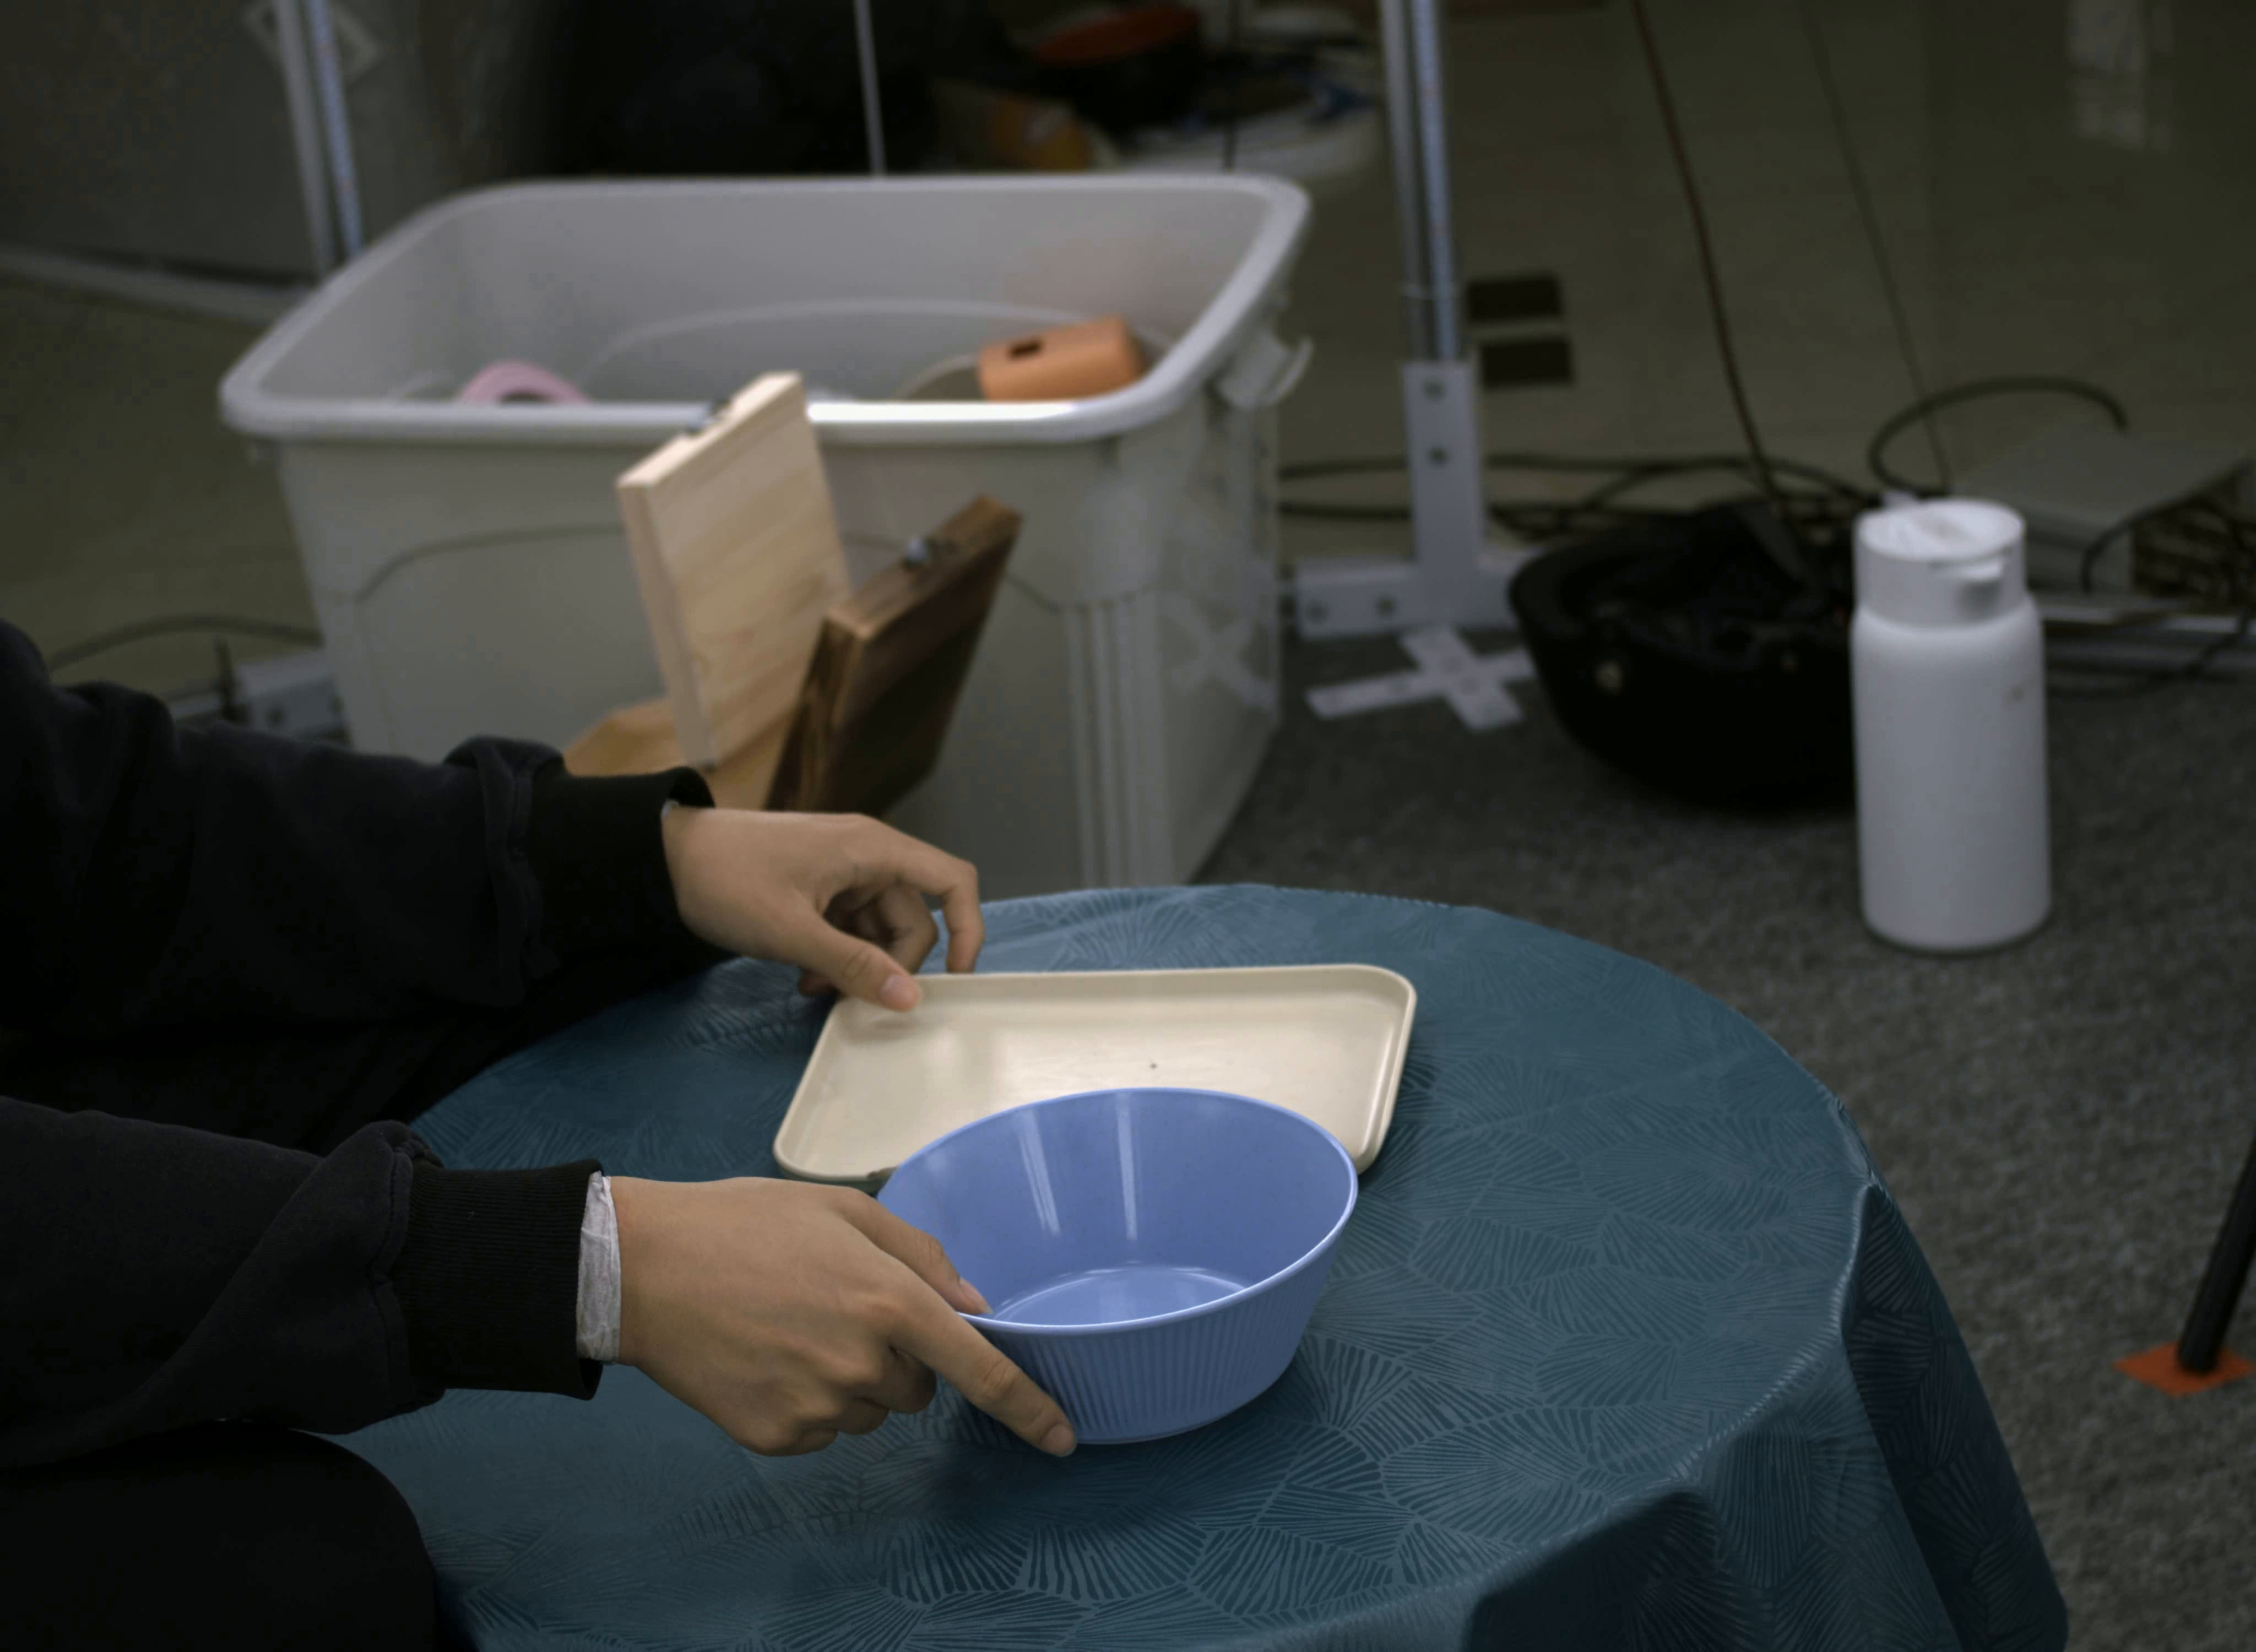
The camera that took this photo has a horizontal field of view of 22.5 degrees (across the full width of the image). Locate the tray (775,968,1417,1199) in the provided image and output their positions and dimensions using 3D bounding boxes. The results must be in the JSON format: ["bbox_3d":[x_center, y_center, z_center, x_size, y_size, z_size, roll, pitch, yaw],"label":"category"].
[{"bbox_3d":[-0.010,0.102,2.215,0.239,0.018,0.169,-2,25,10],"label":"tray"}]

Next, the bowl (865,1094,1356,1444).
[{"bbox_3d":[-0.003,0.163,2.017,0.176,0.071,0.173,-5,24,2],"label":"bowl"}]
